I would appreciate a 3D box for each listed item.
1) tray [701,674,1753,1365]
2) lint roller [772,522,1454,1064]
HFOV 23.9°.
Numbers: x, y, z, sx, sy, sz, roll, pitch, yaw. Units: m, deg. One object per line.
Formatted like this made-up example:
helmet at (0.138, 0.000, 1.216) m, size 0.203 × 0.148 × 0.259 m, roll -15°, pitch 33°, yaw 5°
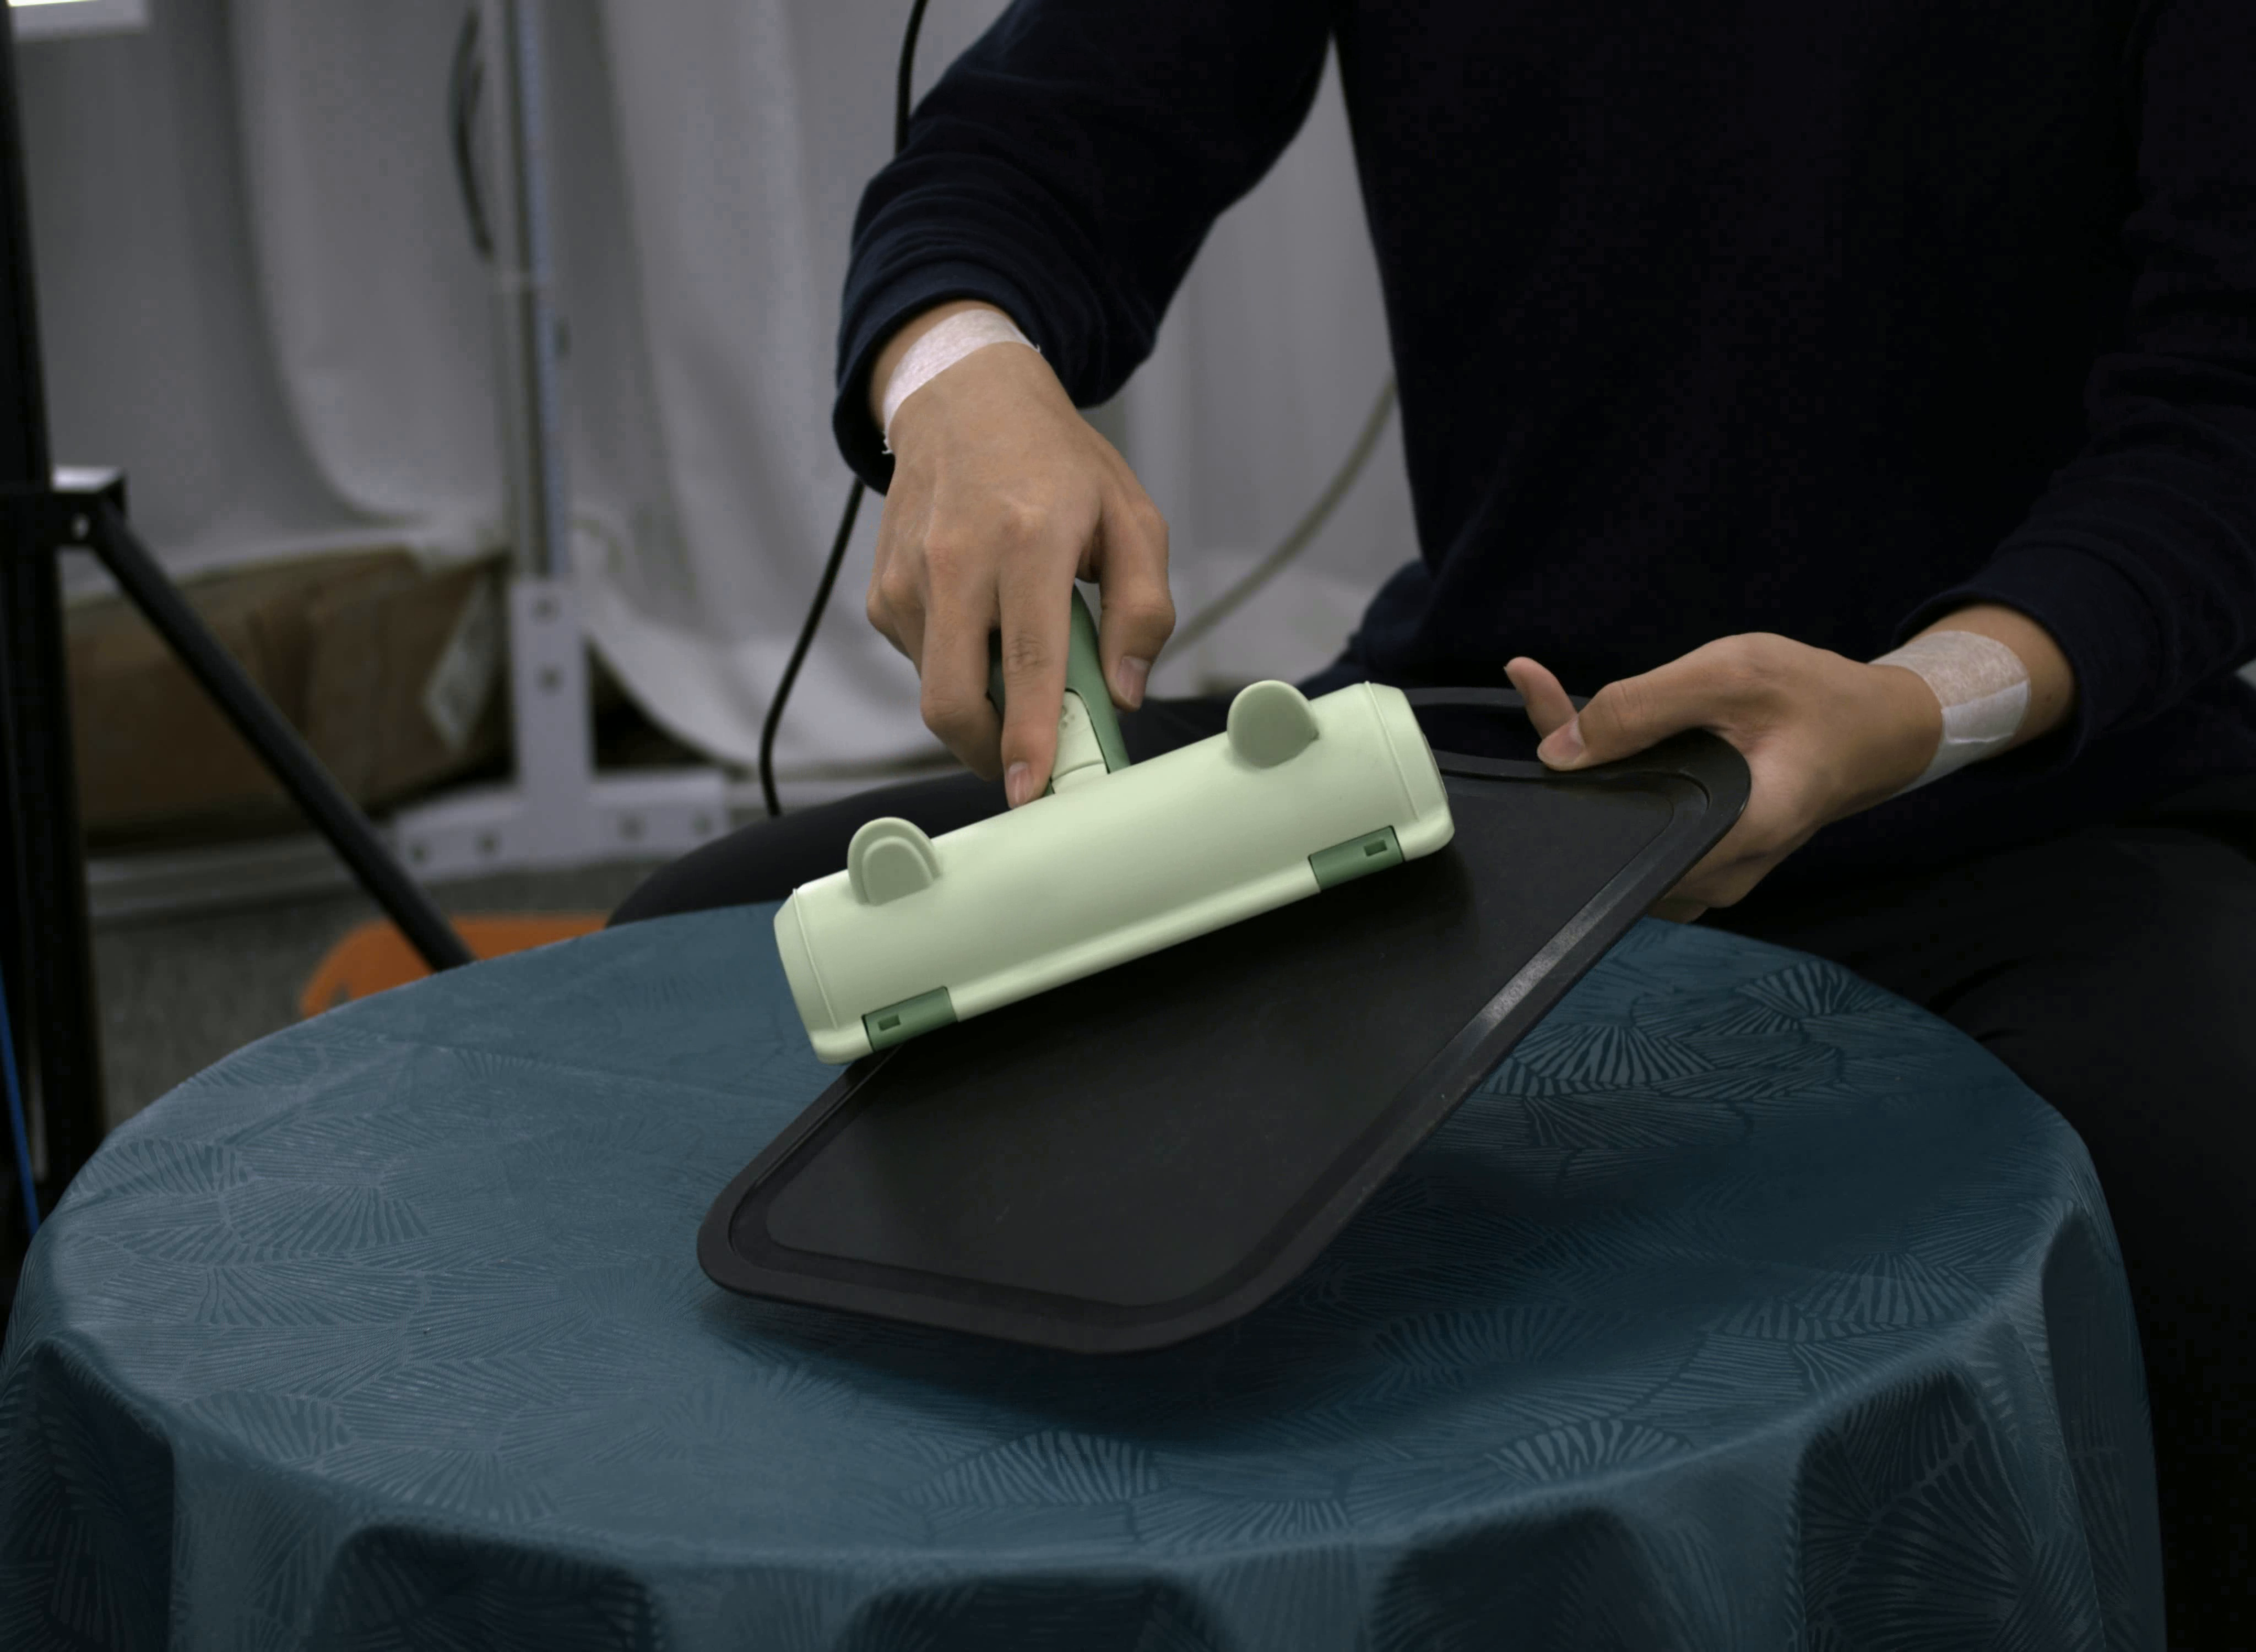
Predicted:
tray at (0.034, 0.043, 1.509) m, size 0.216 × 0.009 × 0.321 m, roll 6°, pitch 38°, yaw 42°
lint roller at (-0.022, -0.035, 1.563) m, size 0.198 × 0.081 × 0.186 m, roll -20°, pitch 56°, yaw 2°
